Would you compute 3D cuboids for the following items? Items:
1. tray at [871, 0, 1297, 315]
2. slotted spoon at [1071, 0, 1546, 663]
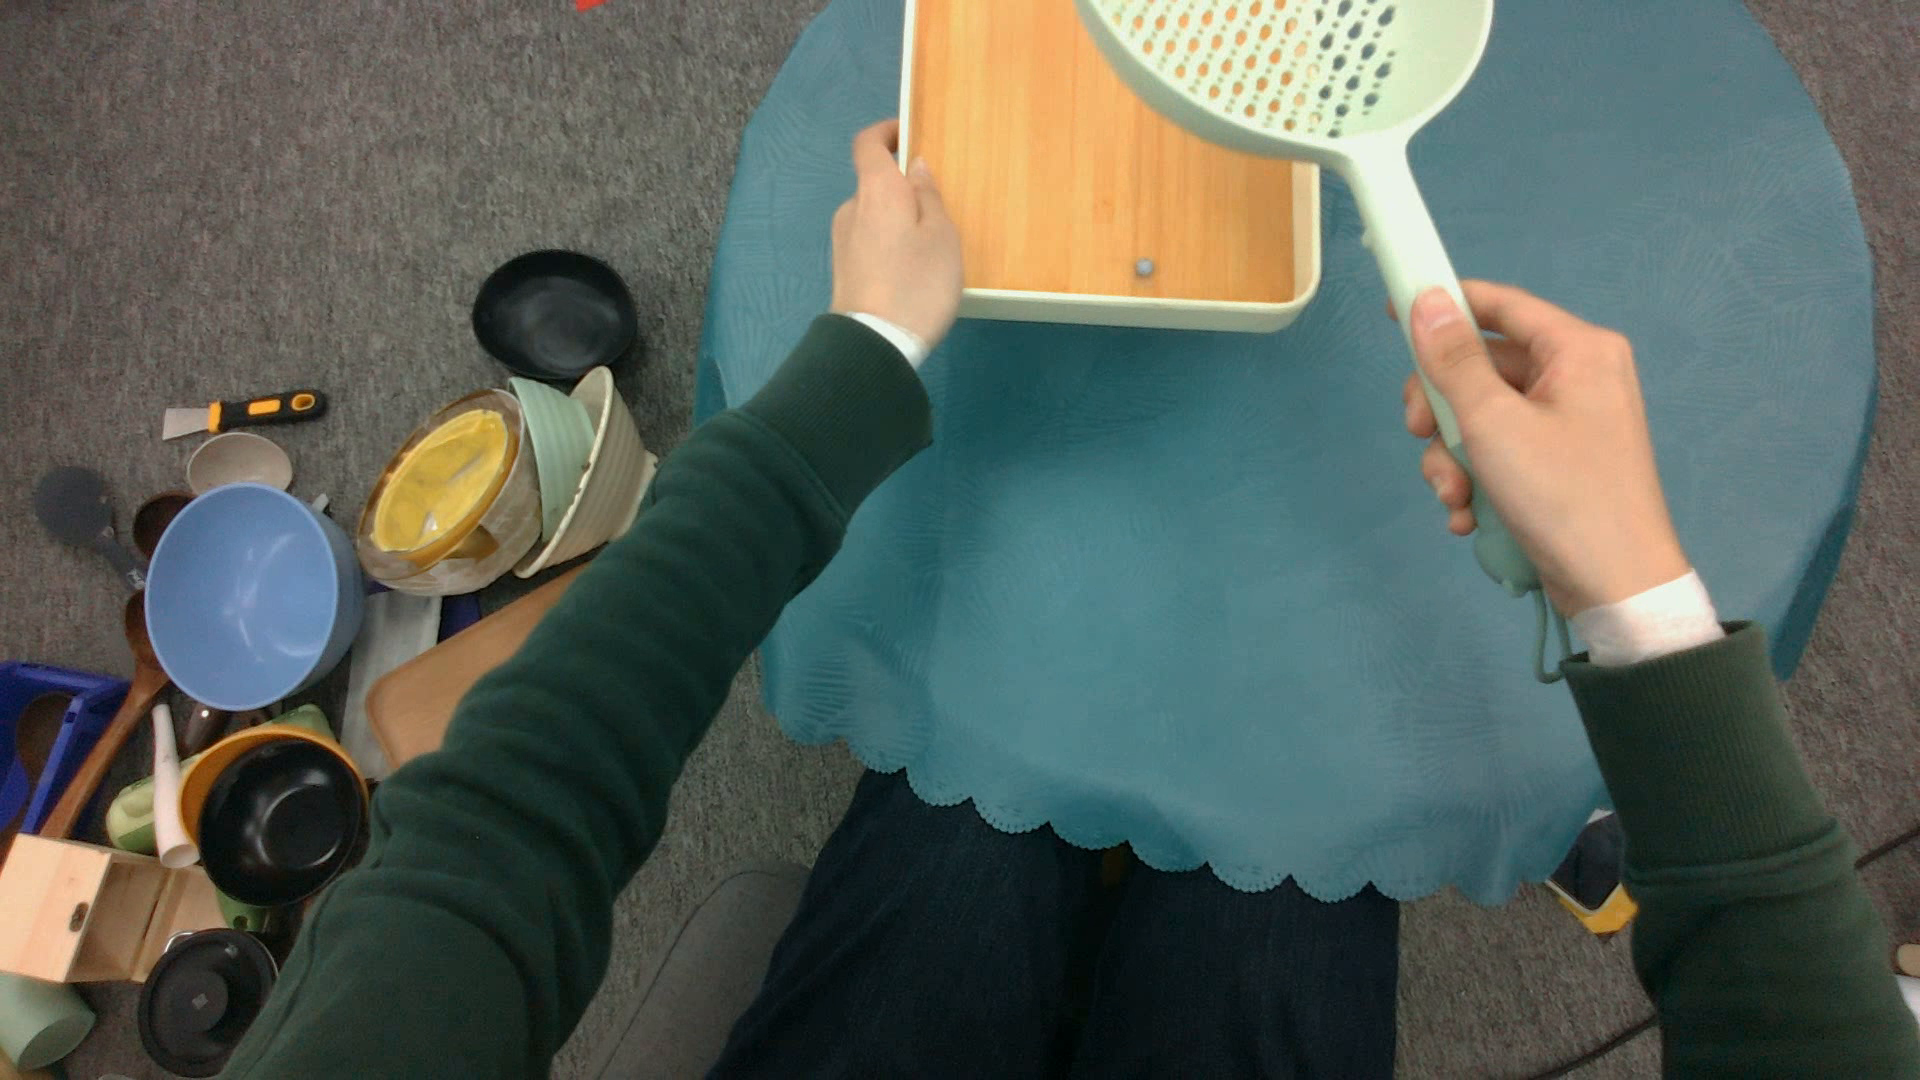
[{"bbox_3d":[0.059,-0.252,0.656,0.191,0.027,0.301,3,74,-3],"label":"tray"},{"bbox_3d":[0.141,-0.132,0.495,0.170,0.075,0.359,-15,72,-18],"label":"slotted spoon"}]
